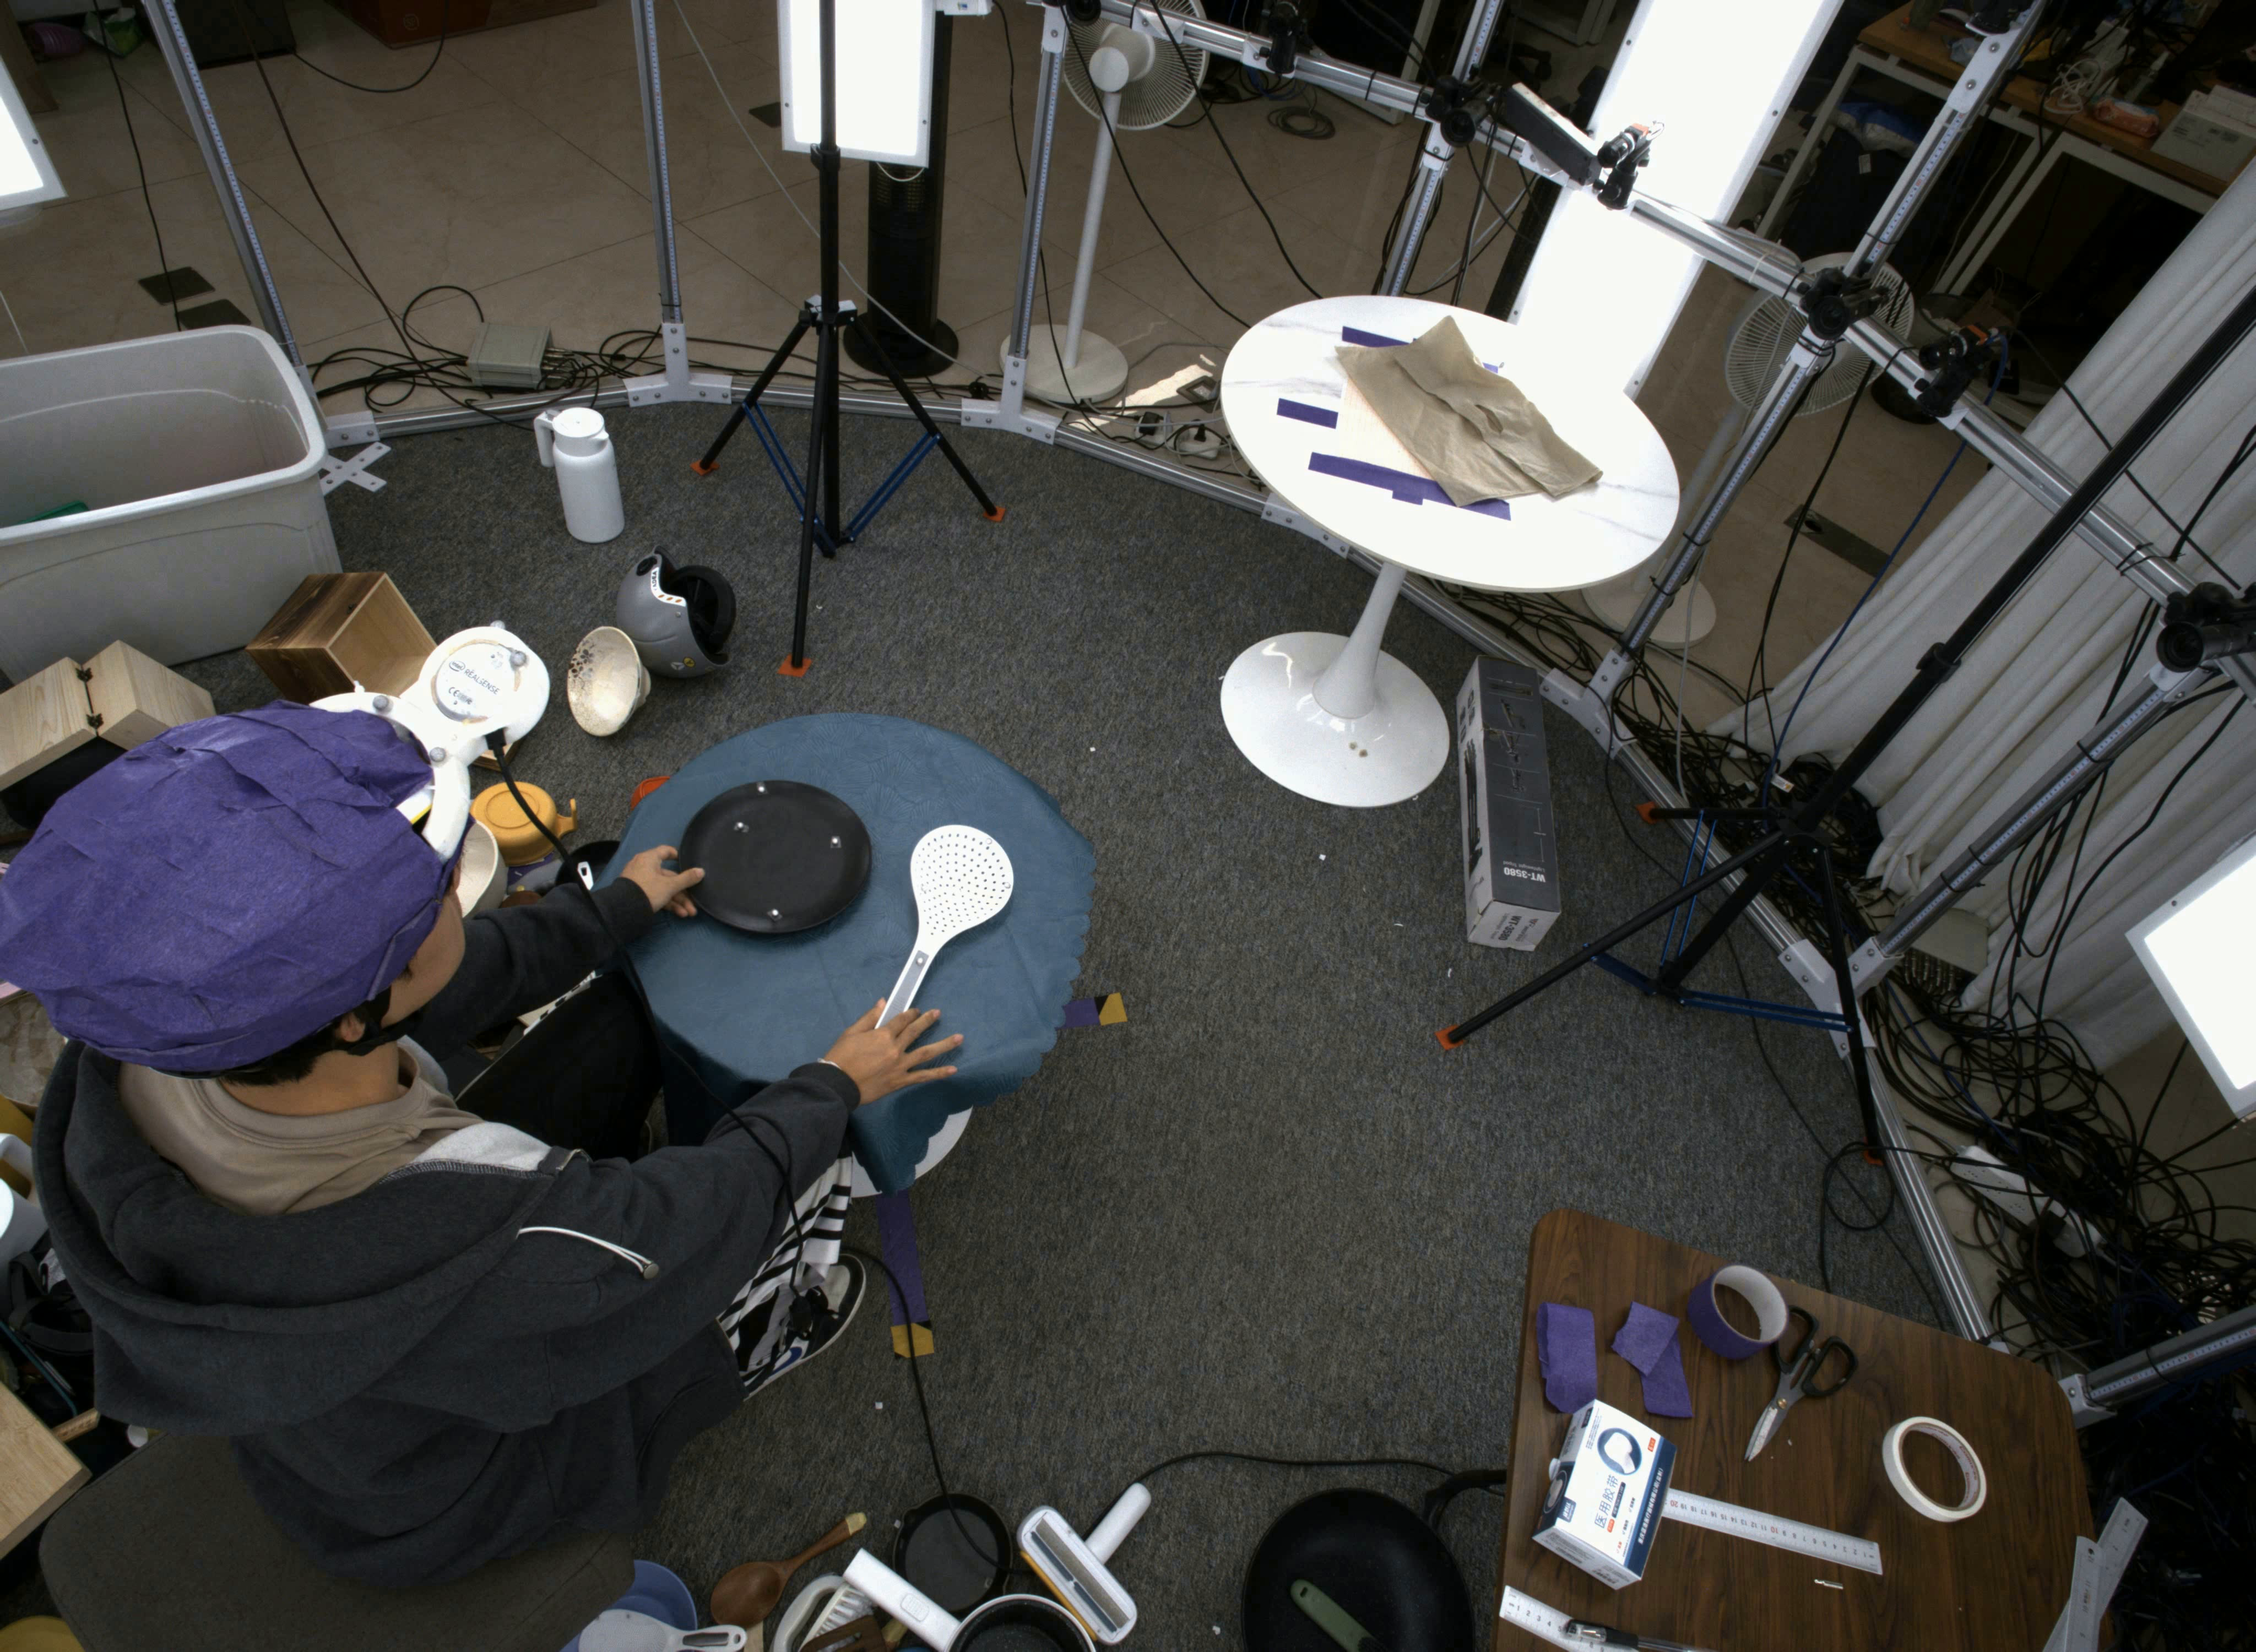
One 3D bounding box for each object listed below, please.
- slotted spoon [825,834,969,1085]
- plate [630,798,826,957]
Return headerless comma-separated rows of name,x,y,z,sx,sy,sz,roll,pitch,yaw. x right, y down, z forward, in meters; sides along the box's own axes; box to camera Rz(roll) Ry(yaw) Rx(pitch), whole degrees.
slotted spoon,-0.299,0.158,1.610,0.137,0.046,0.345,25,51,-11
plate,-0.508,0.064,1.642,0.244,0.024,0.240,9,52,-10
